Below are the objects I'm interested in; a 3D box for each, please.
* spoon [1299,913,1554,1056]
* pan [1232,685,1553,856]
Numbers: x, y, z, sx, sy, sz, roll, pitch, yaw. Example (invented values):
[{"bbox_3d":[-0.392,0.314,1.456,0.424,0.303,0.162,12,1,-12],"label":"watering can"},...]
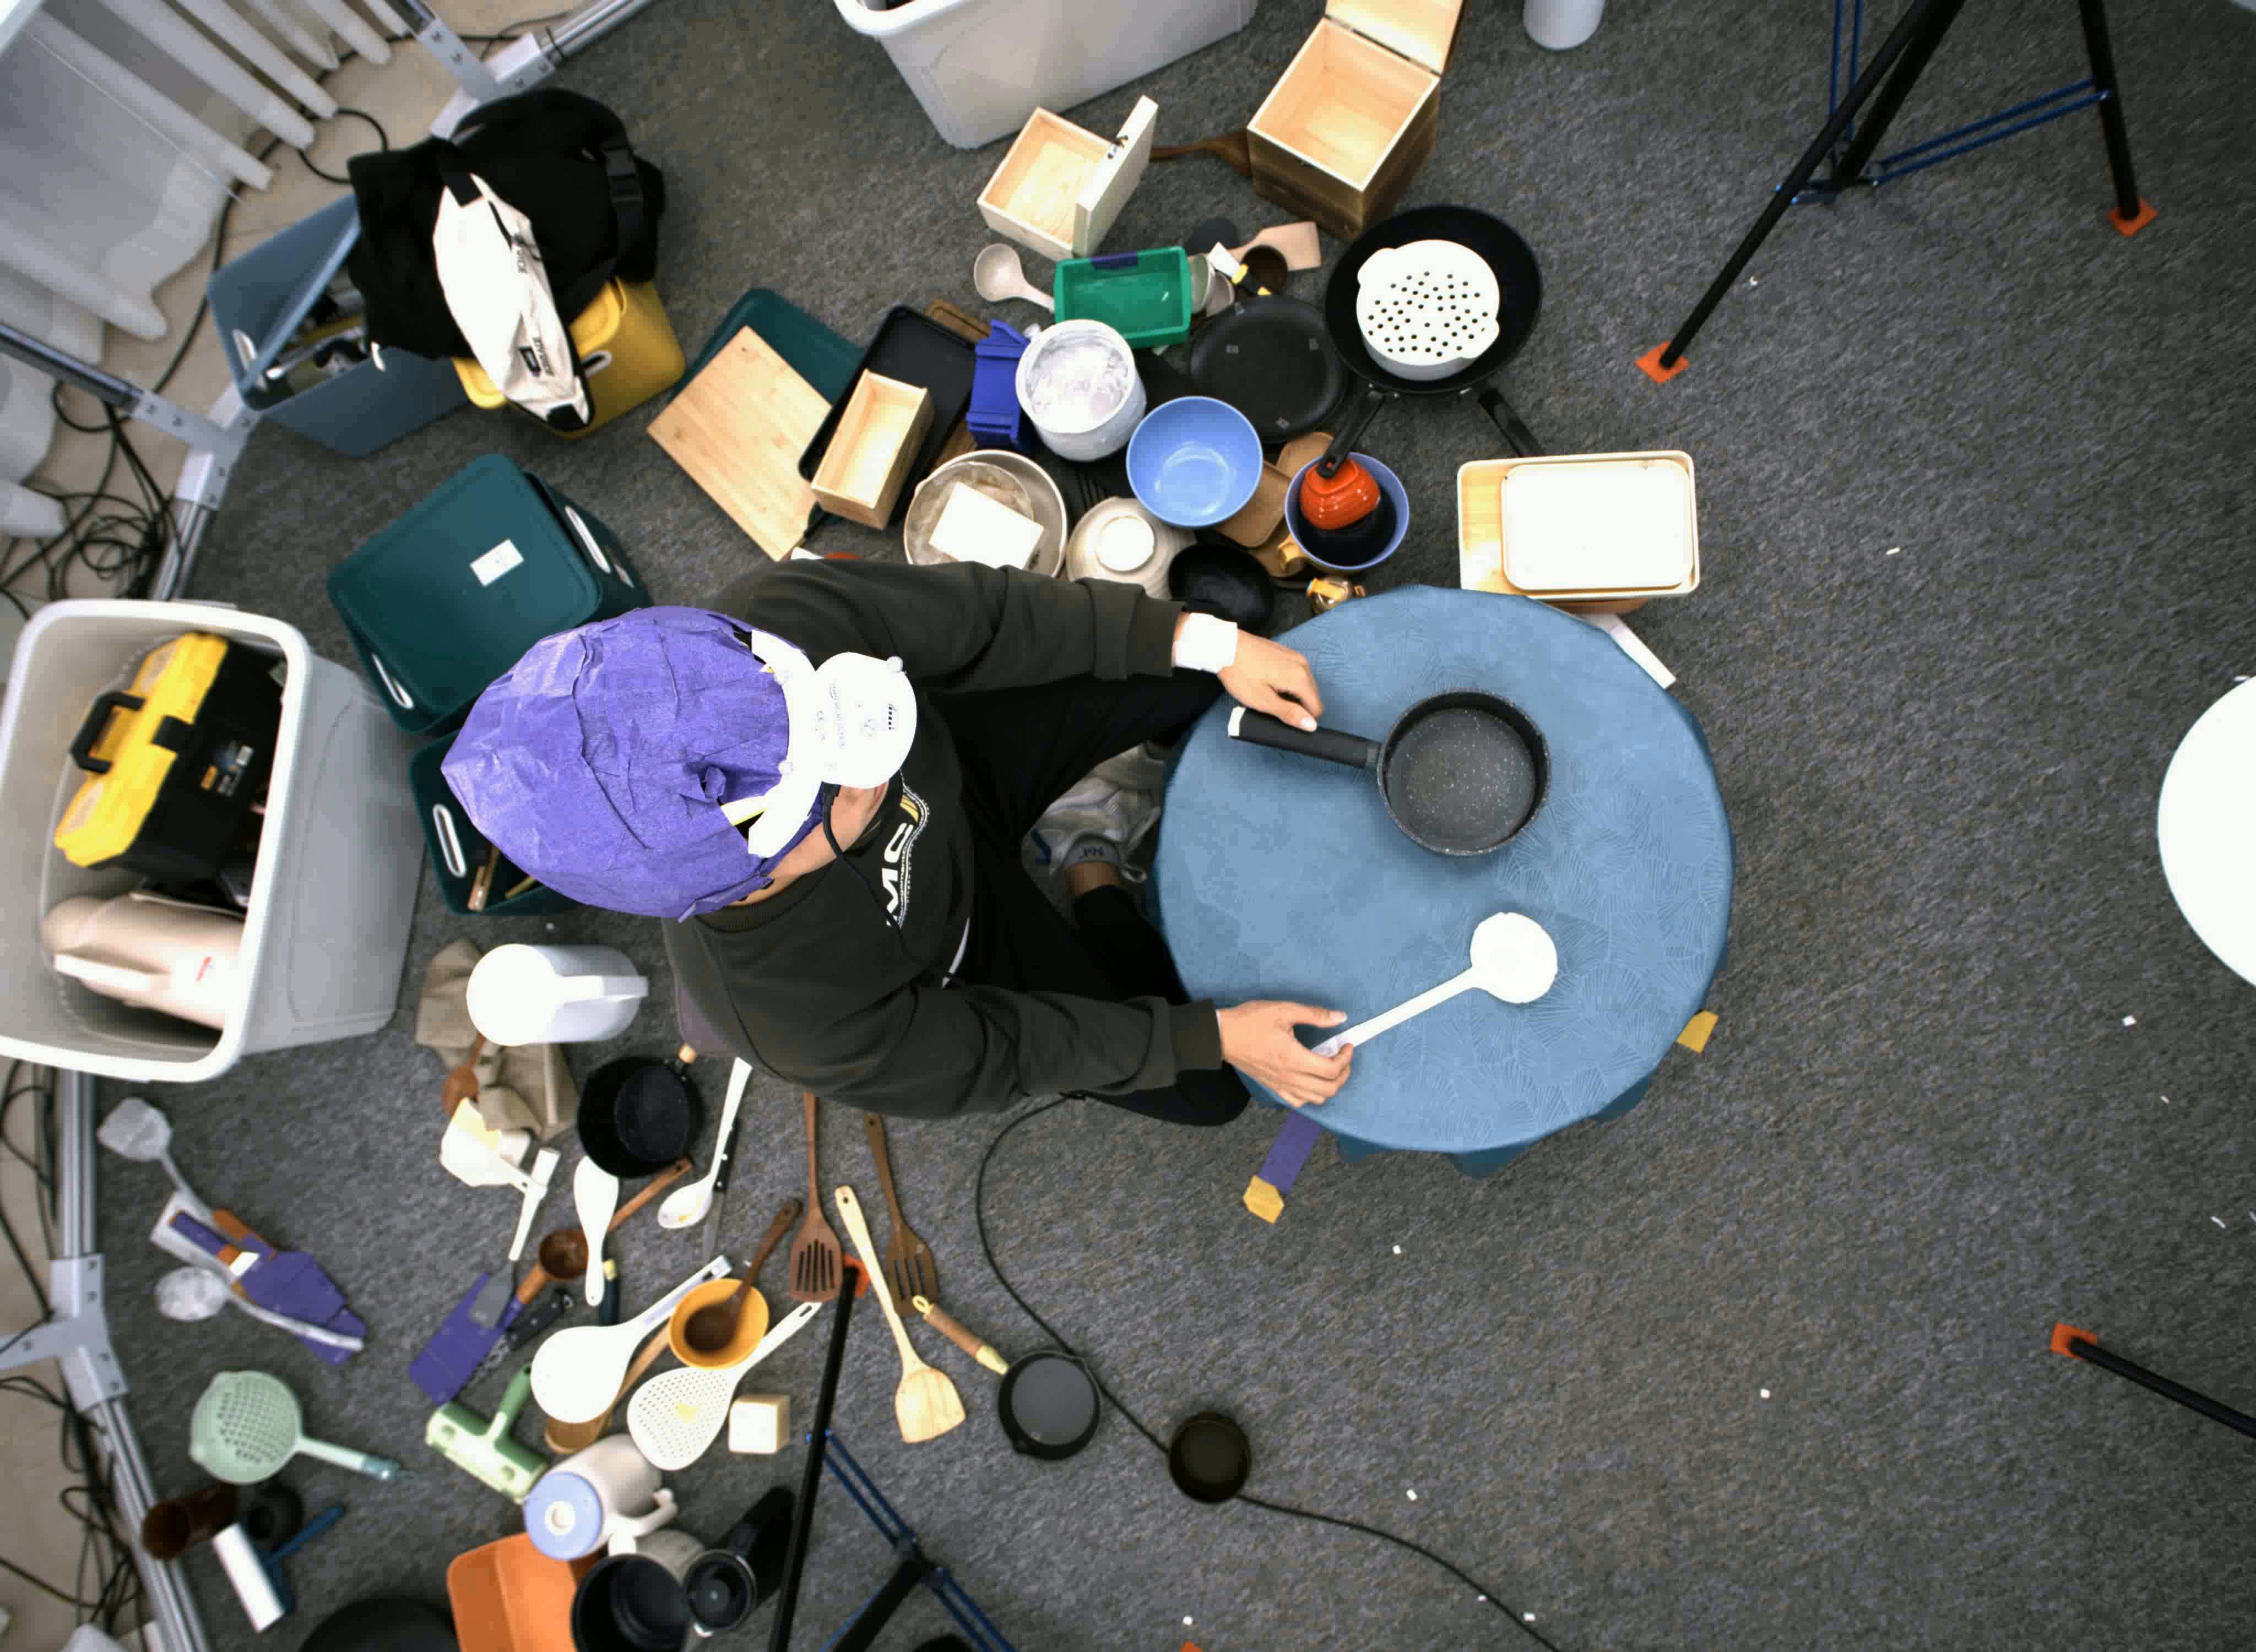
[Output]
[{"bbox_3d":[0.300,0.171,1.420,0.279,0.059,0.100,-25,80,8],"label":"spoon"},{"bbox_3d":[0.269,-0.075,1.426,0.329,0.086,0.171,16,88,10],"label":"pan"}]
